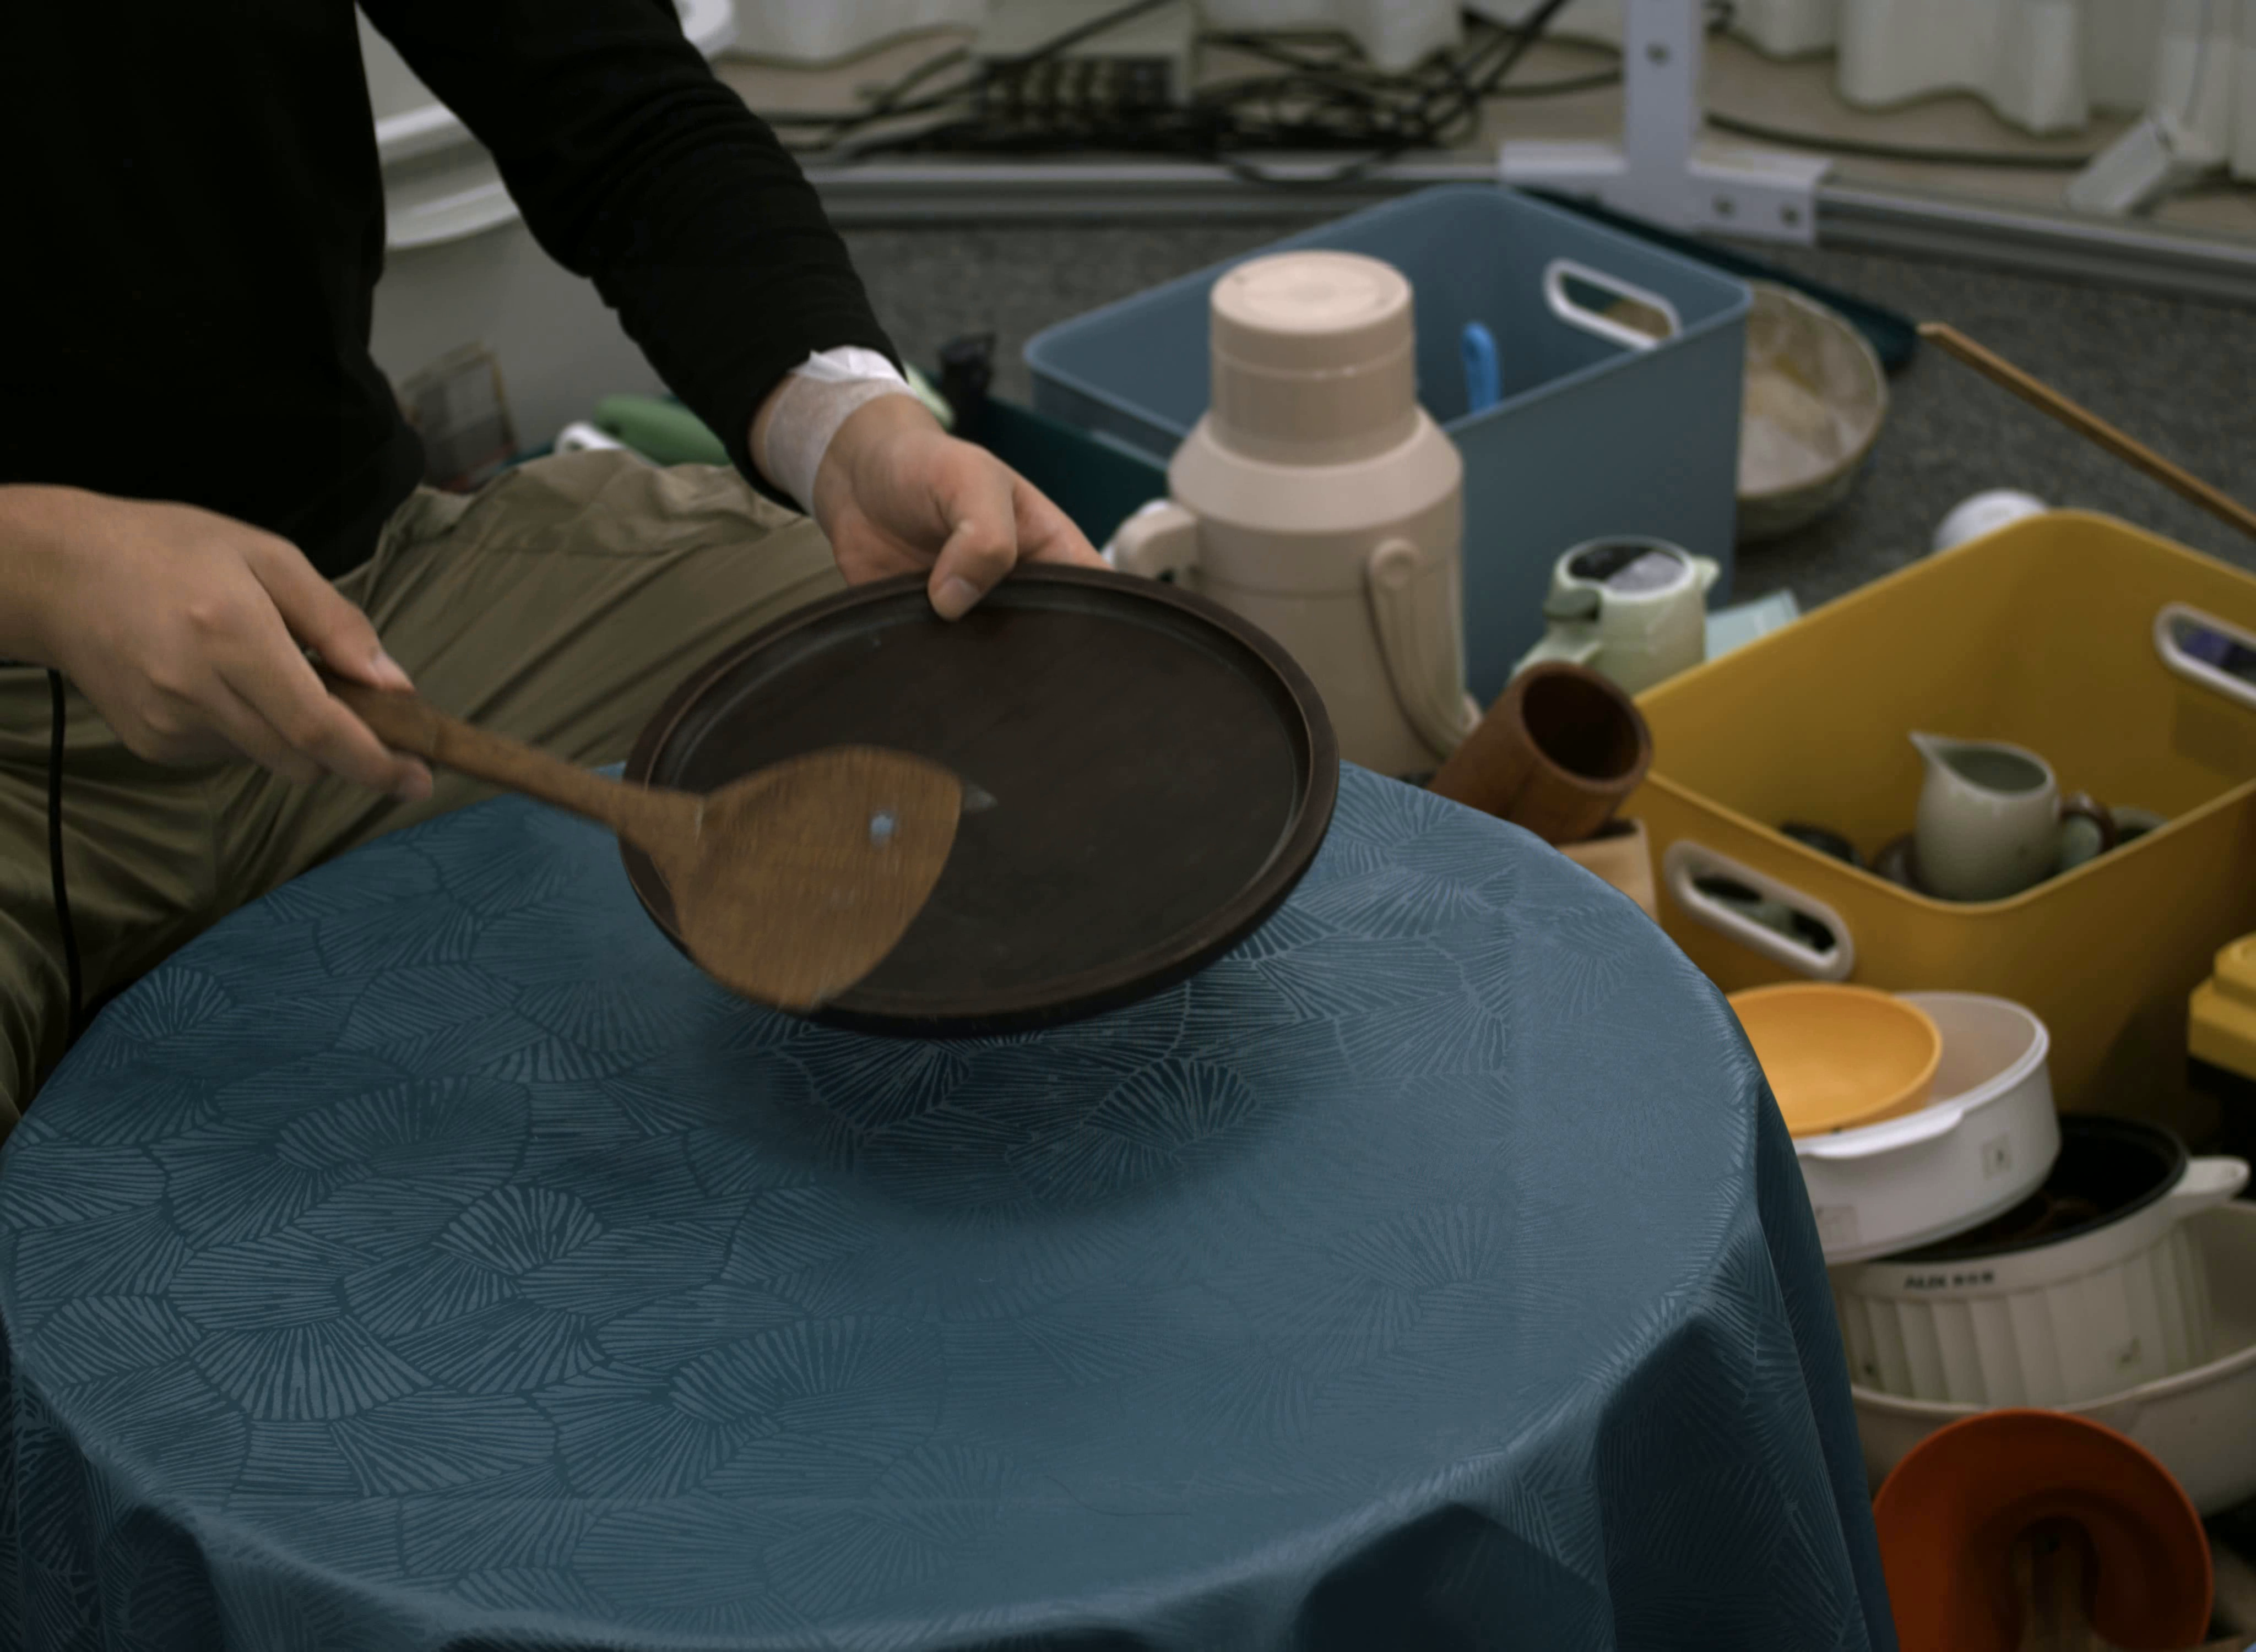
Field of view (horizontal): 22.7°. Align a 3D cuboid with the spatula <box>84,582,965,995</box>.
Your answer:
[{"bbox_3d":[-0.213,-0.027,1.861,0.384,0.015,0.097,18,66,34],"label":"spatula"}]

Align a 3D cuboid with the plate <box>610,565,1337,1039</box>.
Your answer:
[{"bbox_3d":[-0.053,-0.010,1.950,0.253,0.028,0.260,-2,39,2],"label":"plate"}]
